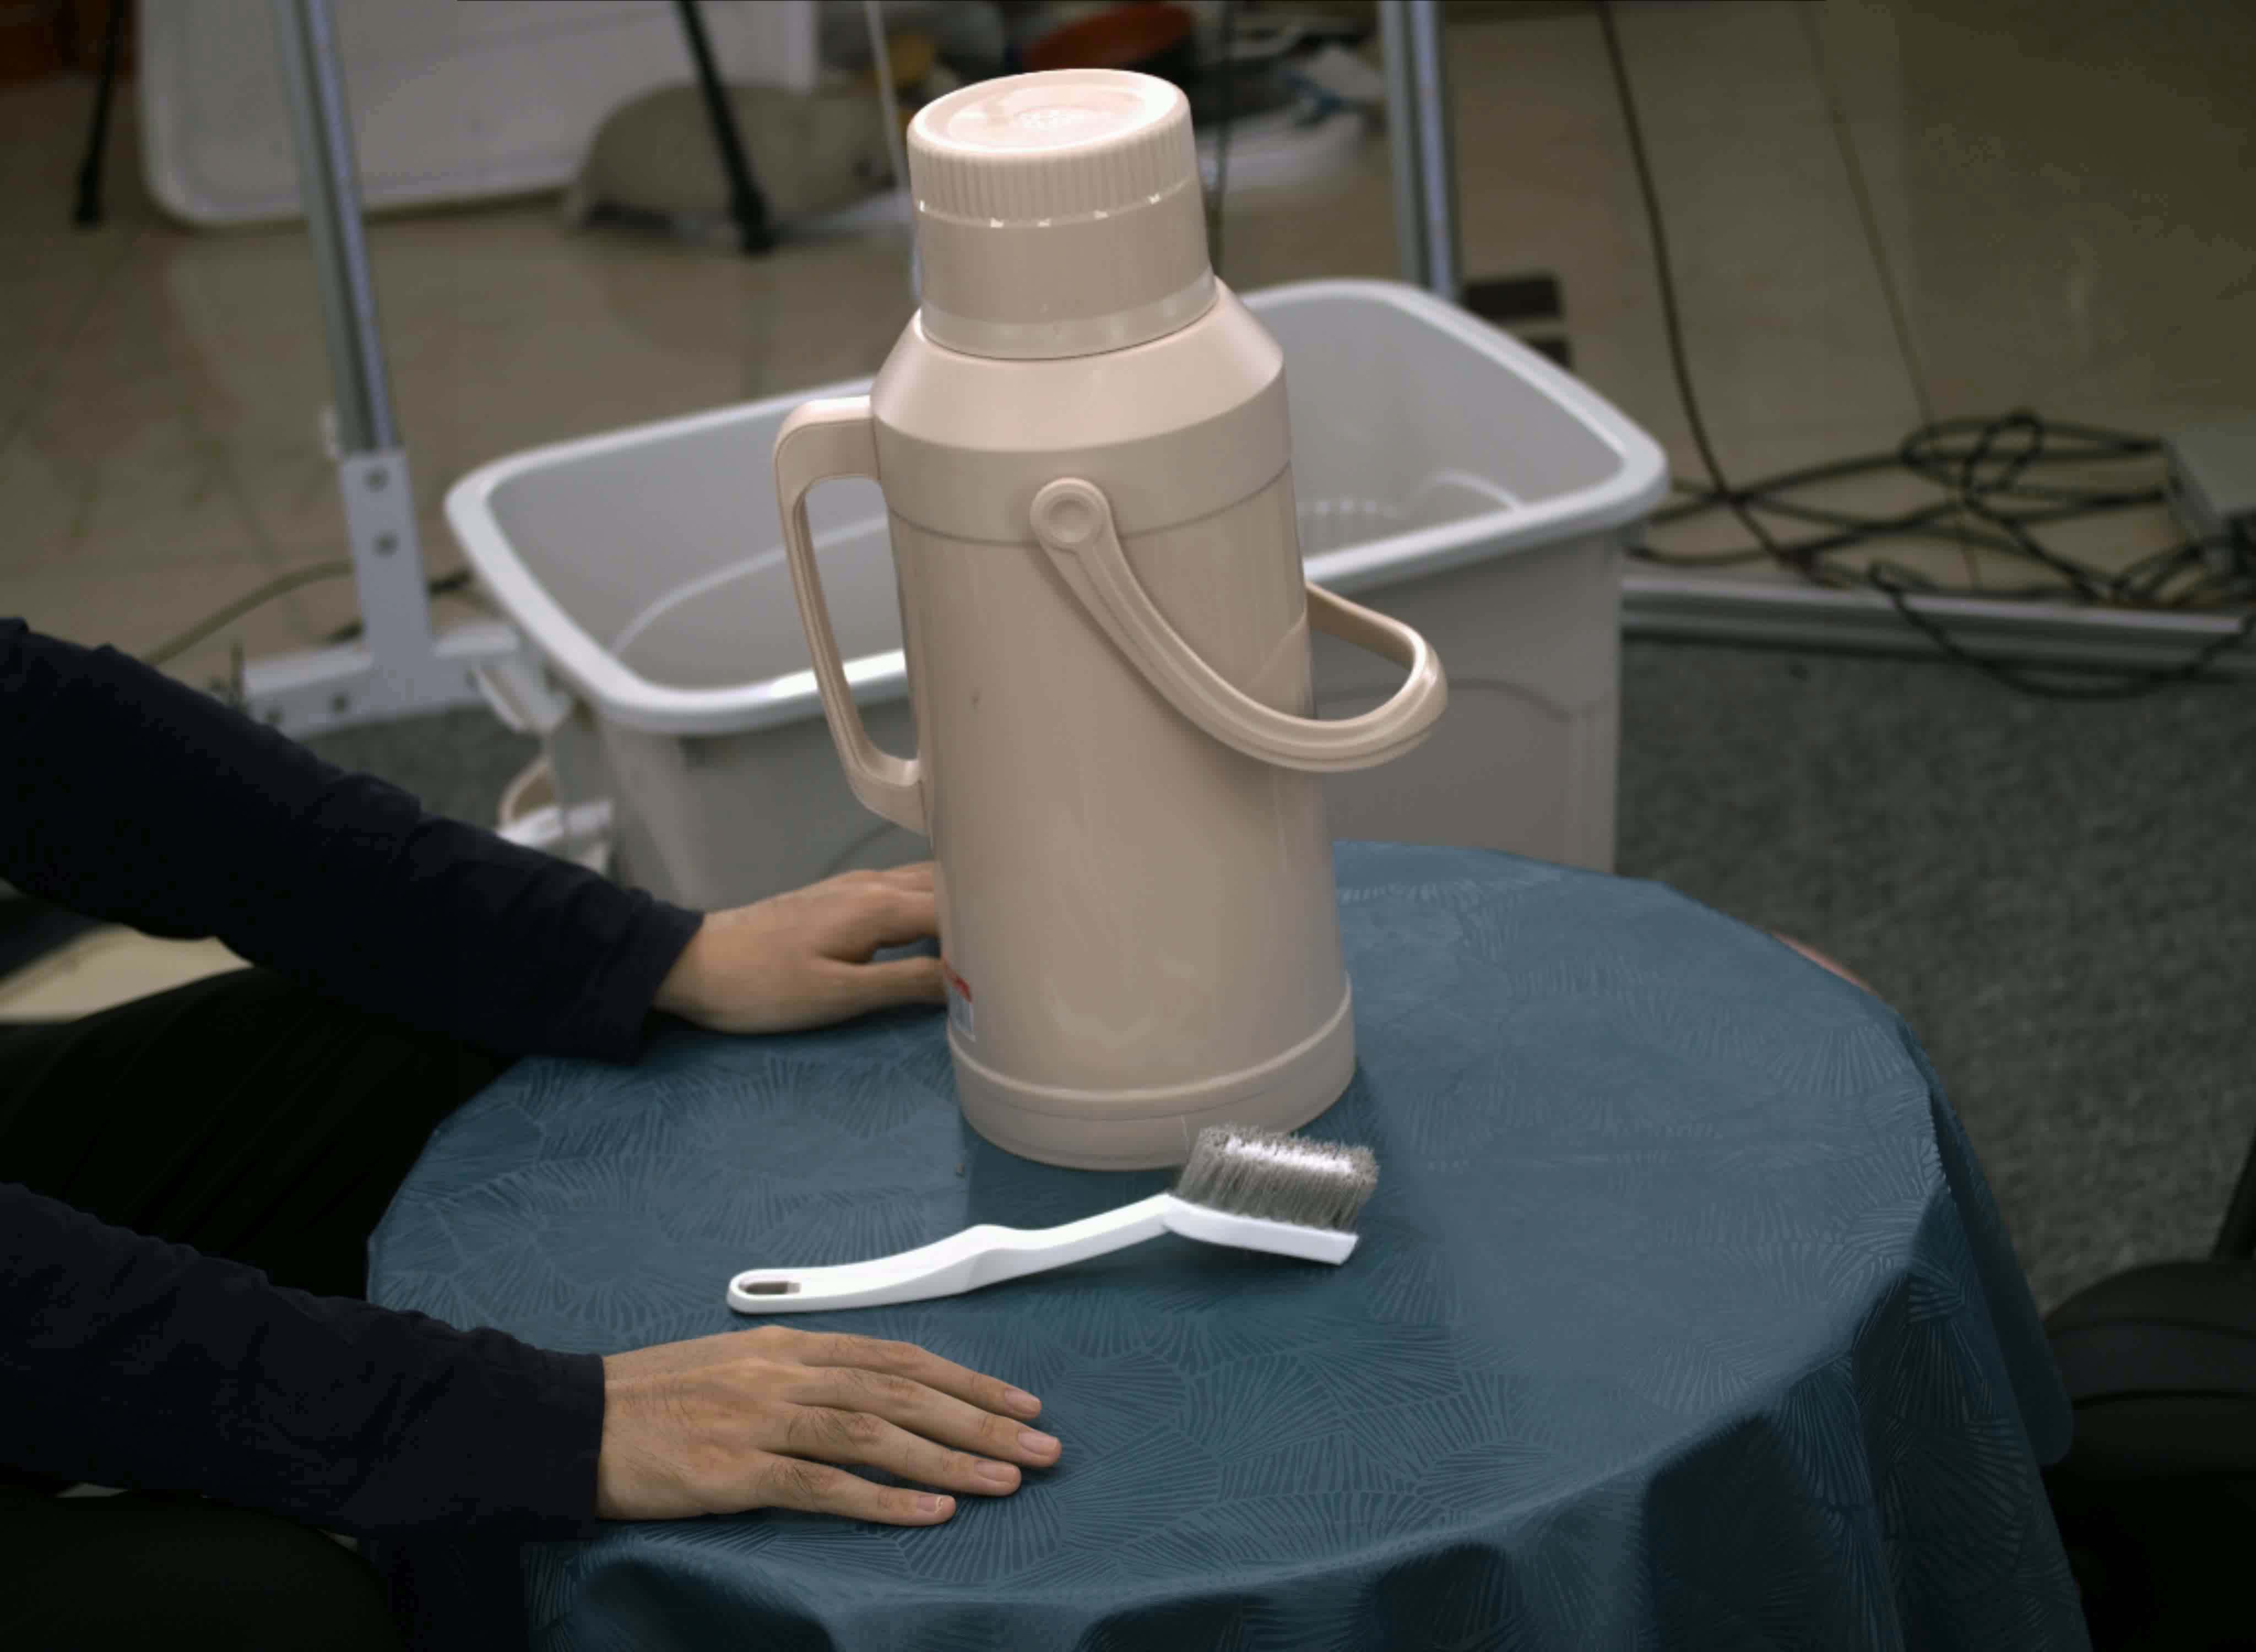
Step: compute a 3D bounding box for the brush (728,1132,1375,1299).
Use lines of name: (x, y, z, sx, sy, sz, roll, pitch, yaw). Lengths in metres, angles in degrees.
brush: (-0.030, 0.143, 2.088, 0.243, 0.051, 0.034, -4, 31, 6)

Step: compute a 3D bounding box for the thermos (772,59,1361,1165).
thermos: (-0.022, -0.081, 2.148, 0.207, 0.413, 0.172, -5, 28, 4)
